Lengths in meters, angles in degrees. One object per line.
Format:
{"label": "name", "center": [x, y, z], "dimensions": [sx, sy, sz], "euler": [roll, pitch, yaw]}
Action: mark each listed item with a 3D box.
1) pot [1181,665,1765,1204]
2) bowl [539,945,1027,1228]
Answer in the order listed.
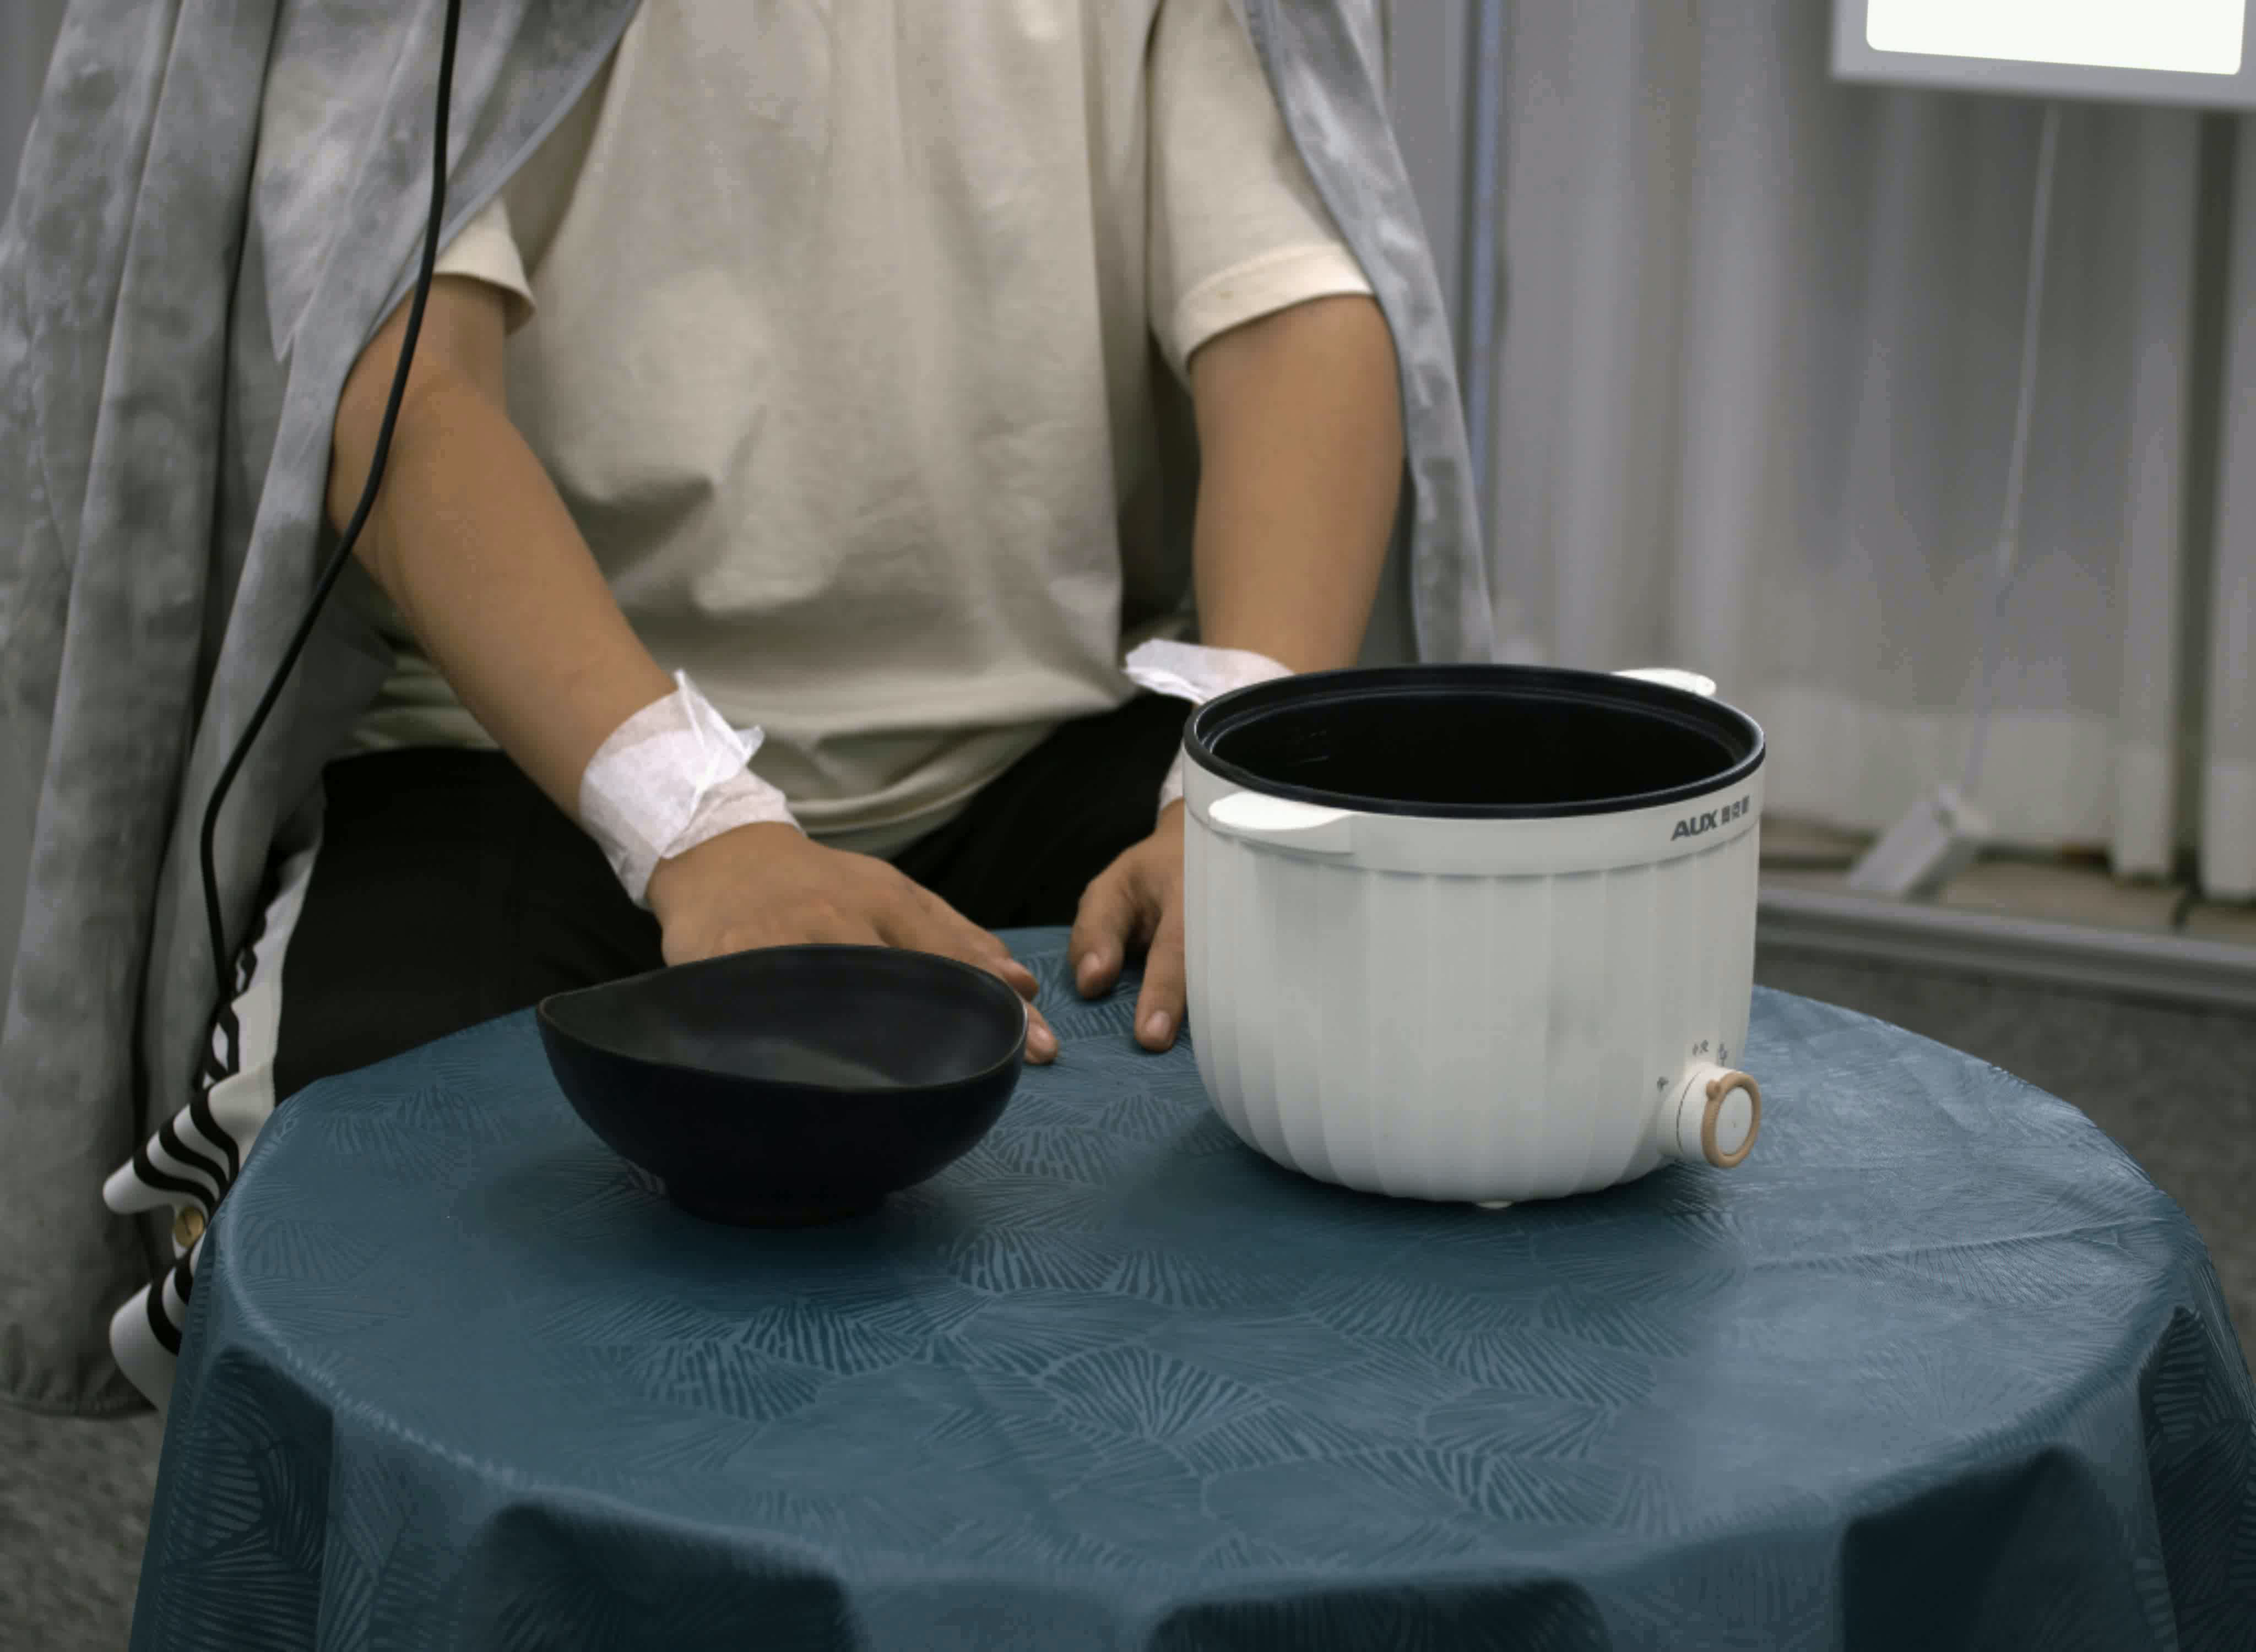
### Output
{"label": "pot", "center": [0.112, 0.035, 1.650], "dimensions": [0.188, 0.144, 0.241], "euler": [8, 18, 37]}
{"label": "bowl", "center": [-0.107, 0.083, 1.608], "dimensions": [0.138, 0.067, 0.168], "euler": [-13, 19, -43]}
